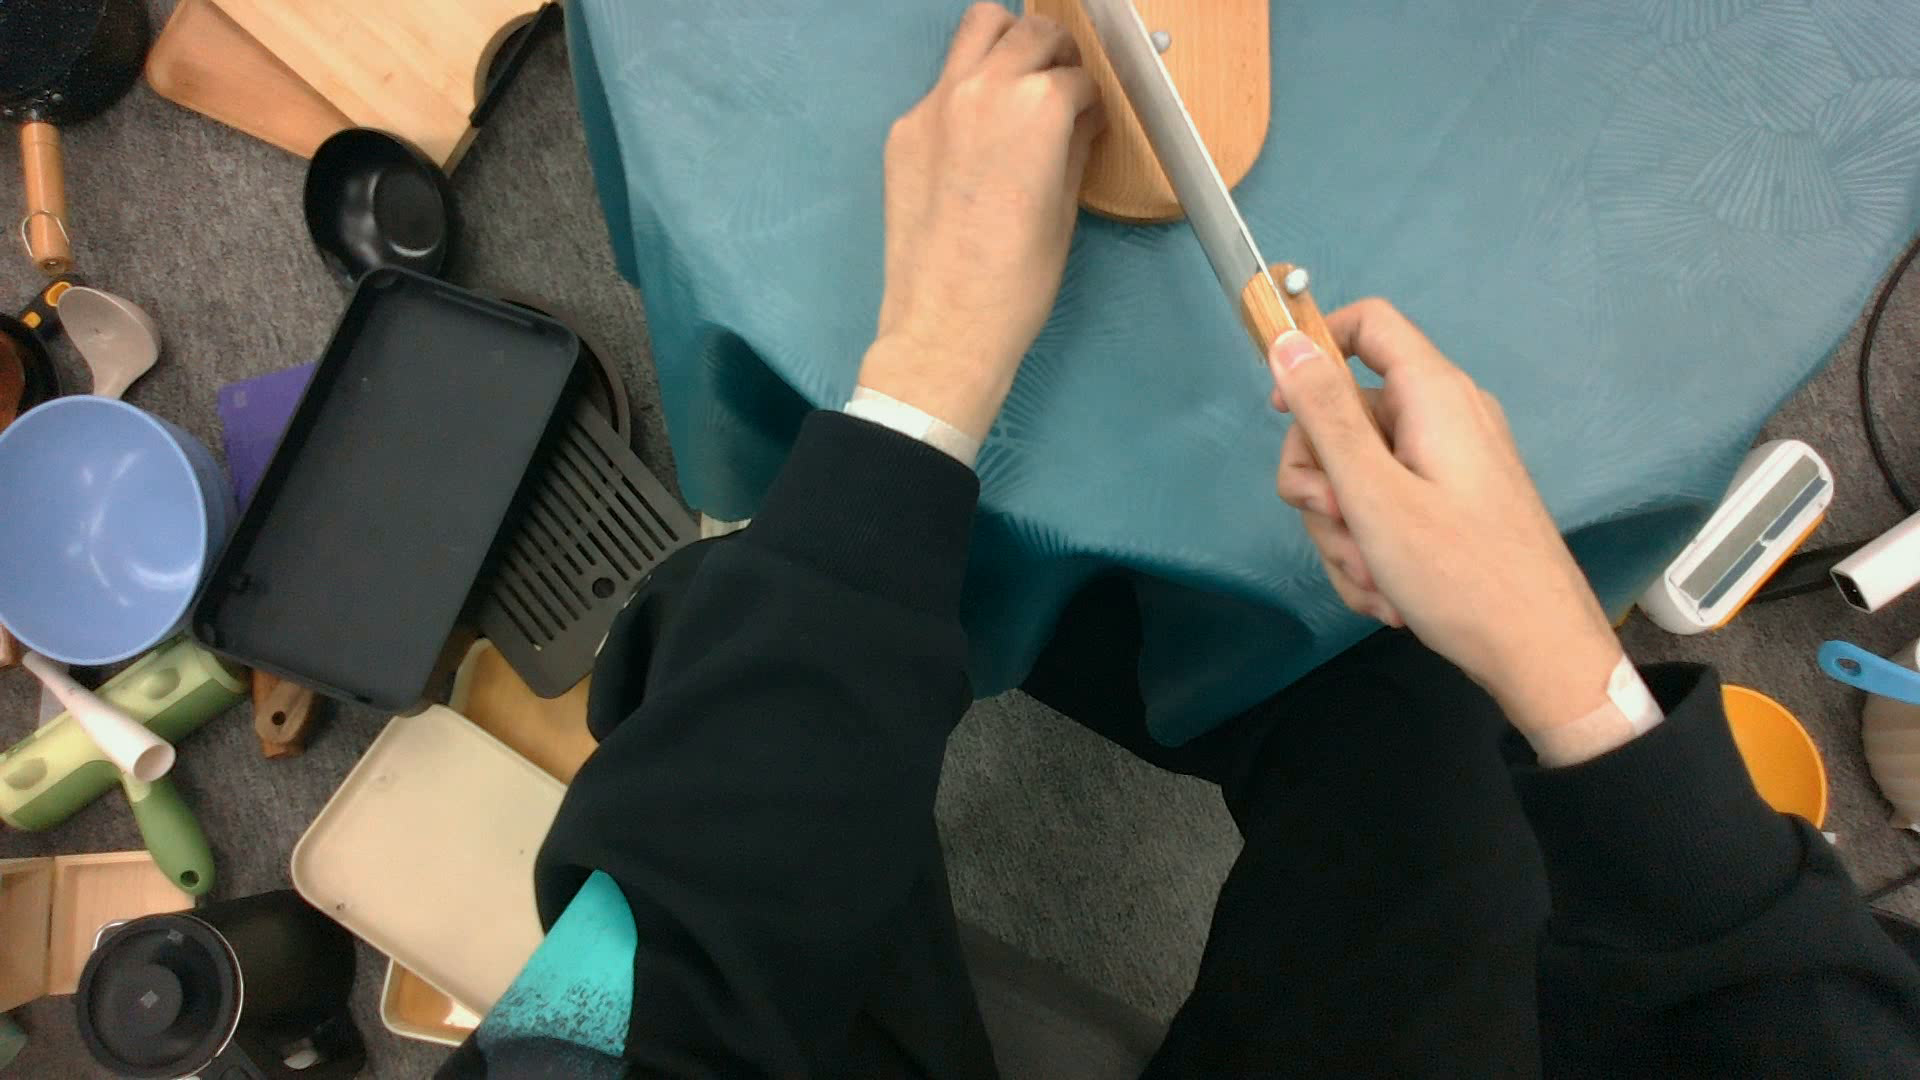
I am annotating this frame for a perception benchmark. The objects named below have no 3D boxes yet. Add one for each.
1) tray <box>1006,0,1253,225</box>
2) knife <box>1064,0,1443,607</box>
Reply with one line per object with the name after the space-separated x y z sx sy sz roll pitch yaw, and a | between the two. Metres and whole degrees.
0.071 -0.243 0.580 0.101 0.020 0.231 1 82 1 | tray
0.090 -0.112 0.501 0.021 0.093 0.306 -25 78 4 | knife
